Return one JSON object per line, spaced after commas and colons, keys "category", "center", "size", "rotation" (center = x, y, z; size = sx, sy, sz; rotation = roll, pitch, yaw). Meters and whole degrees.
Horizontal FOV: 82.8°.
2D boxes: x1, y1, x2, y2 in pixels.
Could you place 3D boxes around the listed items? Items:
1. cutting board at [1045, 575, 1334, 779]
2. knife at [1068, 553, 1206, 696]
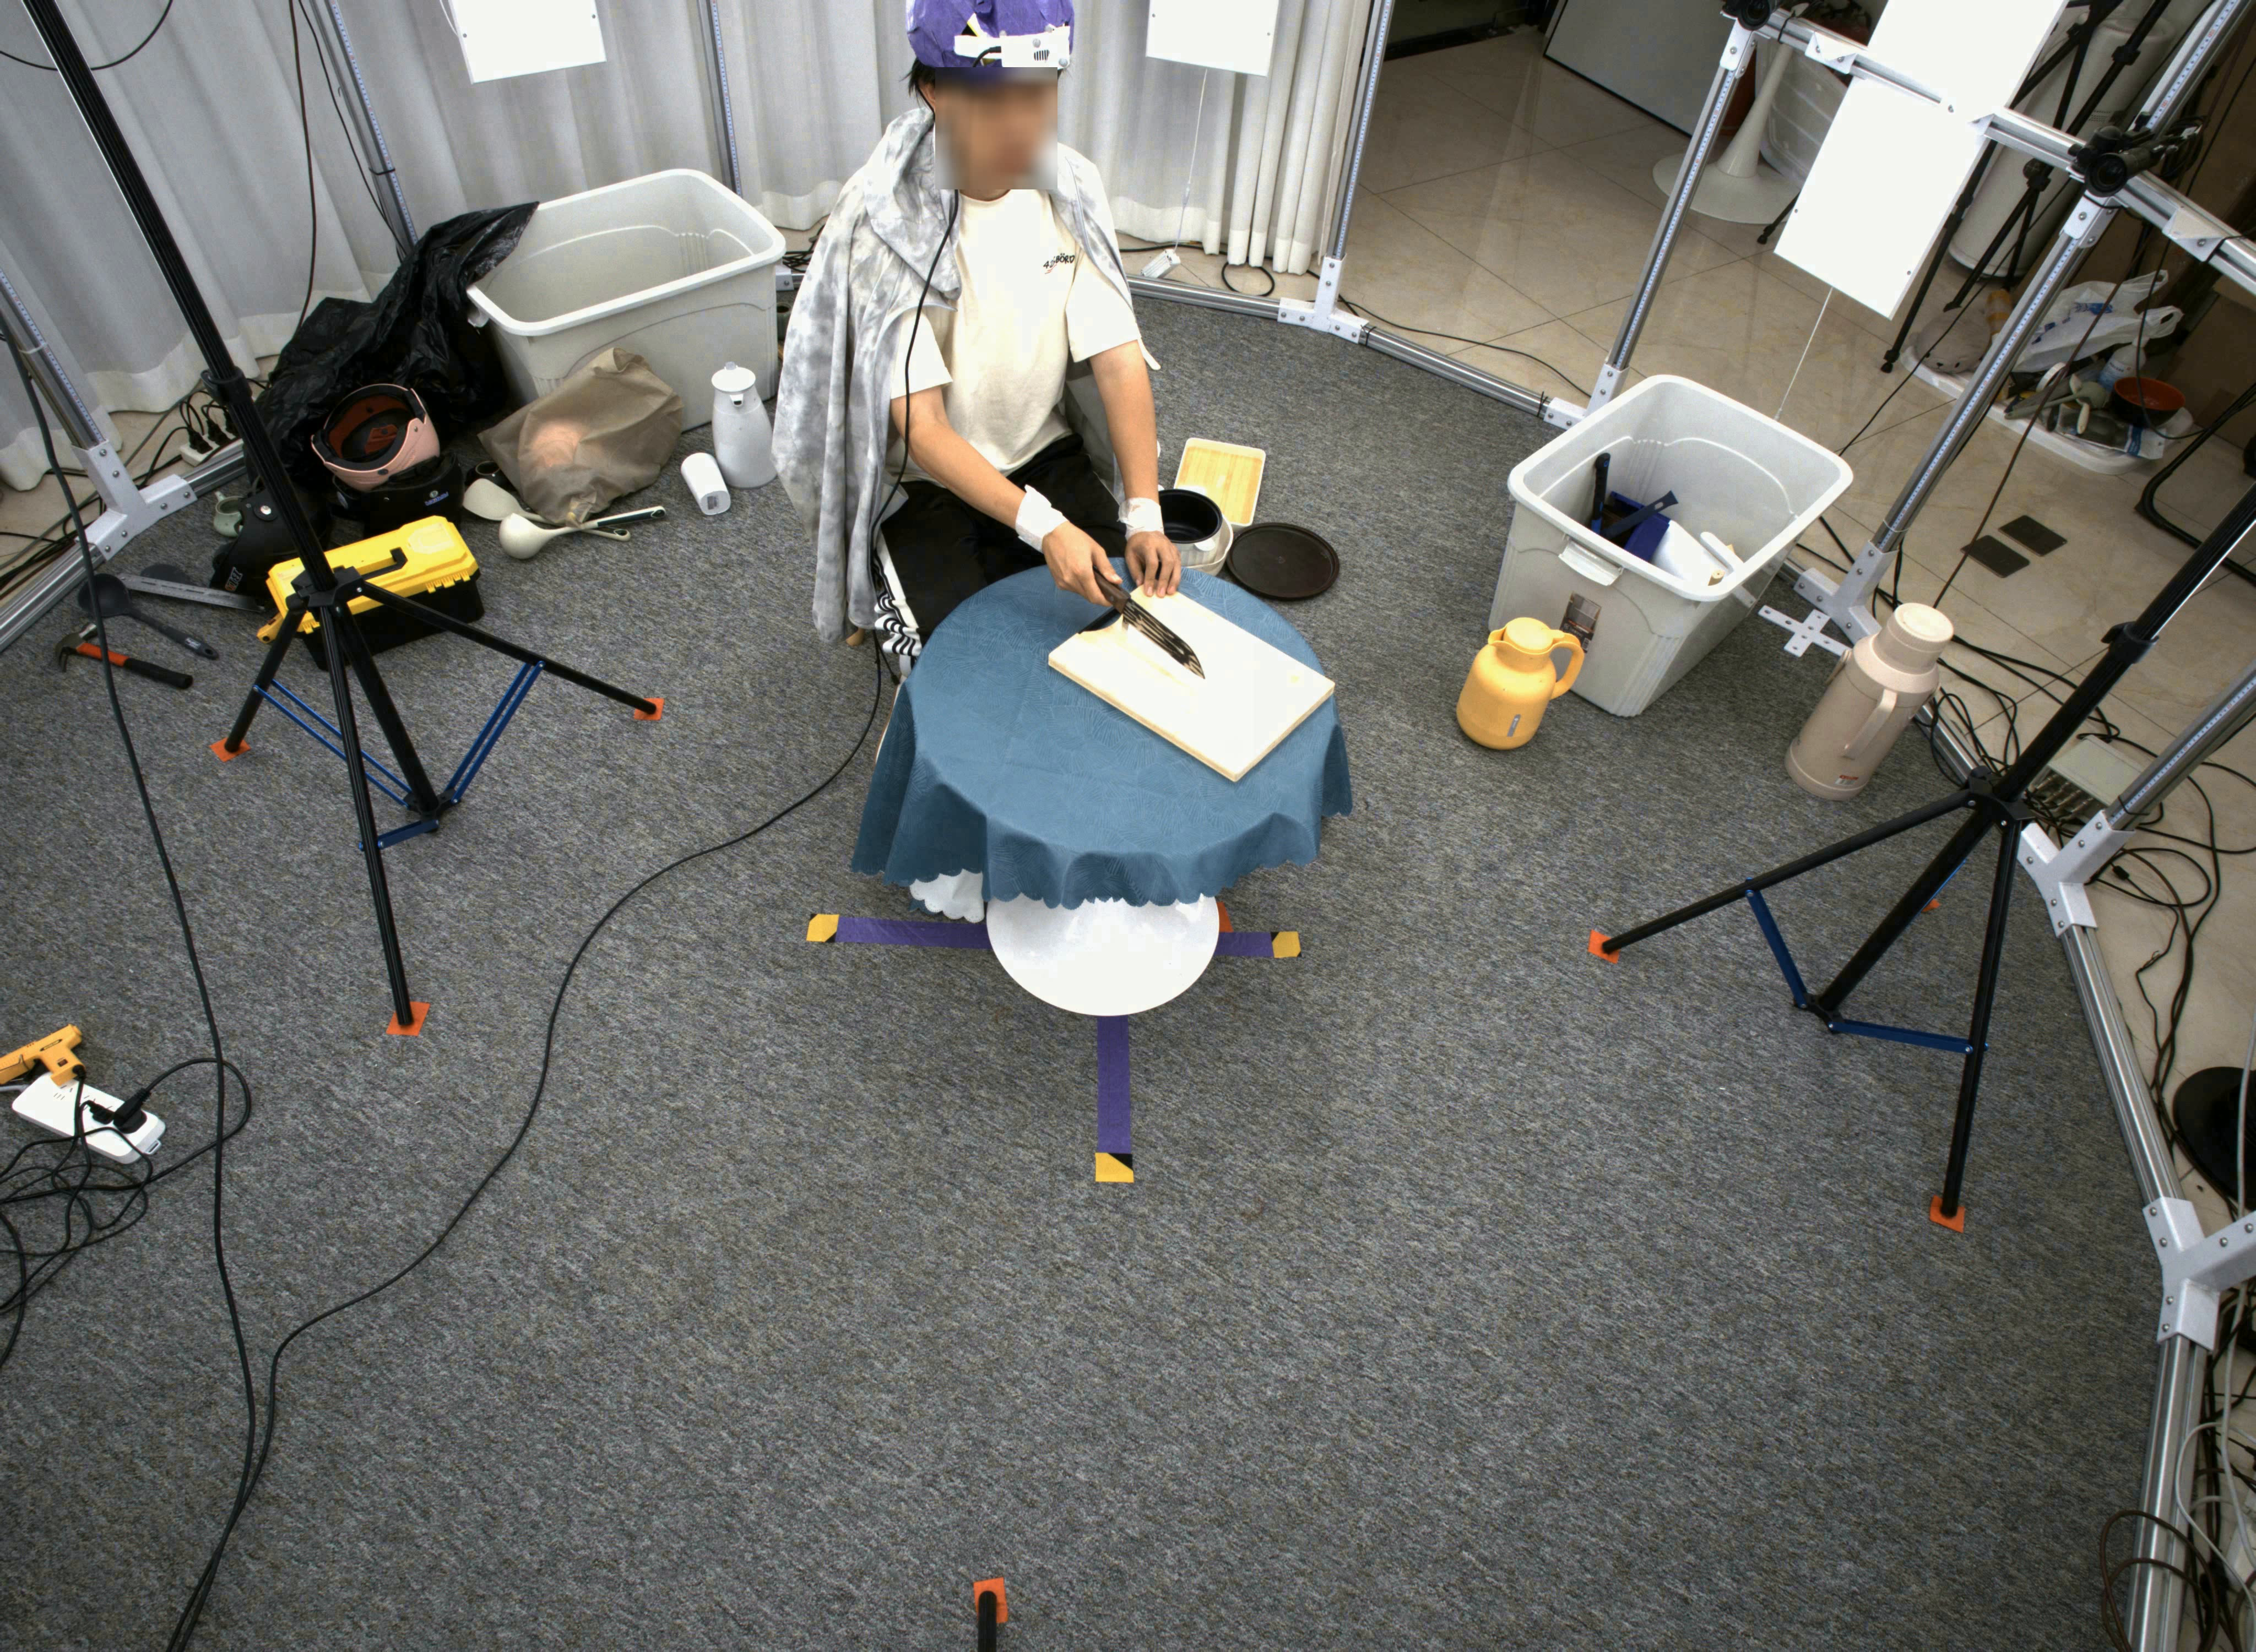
{"category": "cutting board", "center": [0.087, -0.223, 1.850], "size": [0.353, 0.023, 0.254], "rotation": [33, 54, 23]}
{"category": "knife", "center": [0.013, -0.290, 1.843], "size": [0.024, 0.066, 0.304], "rotation": [-28, 59, -34]}
